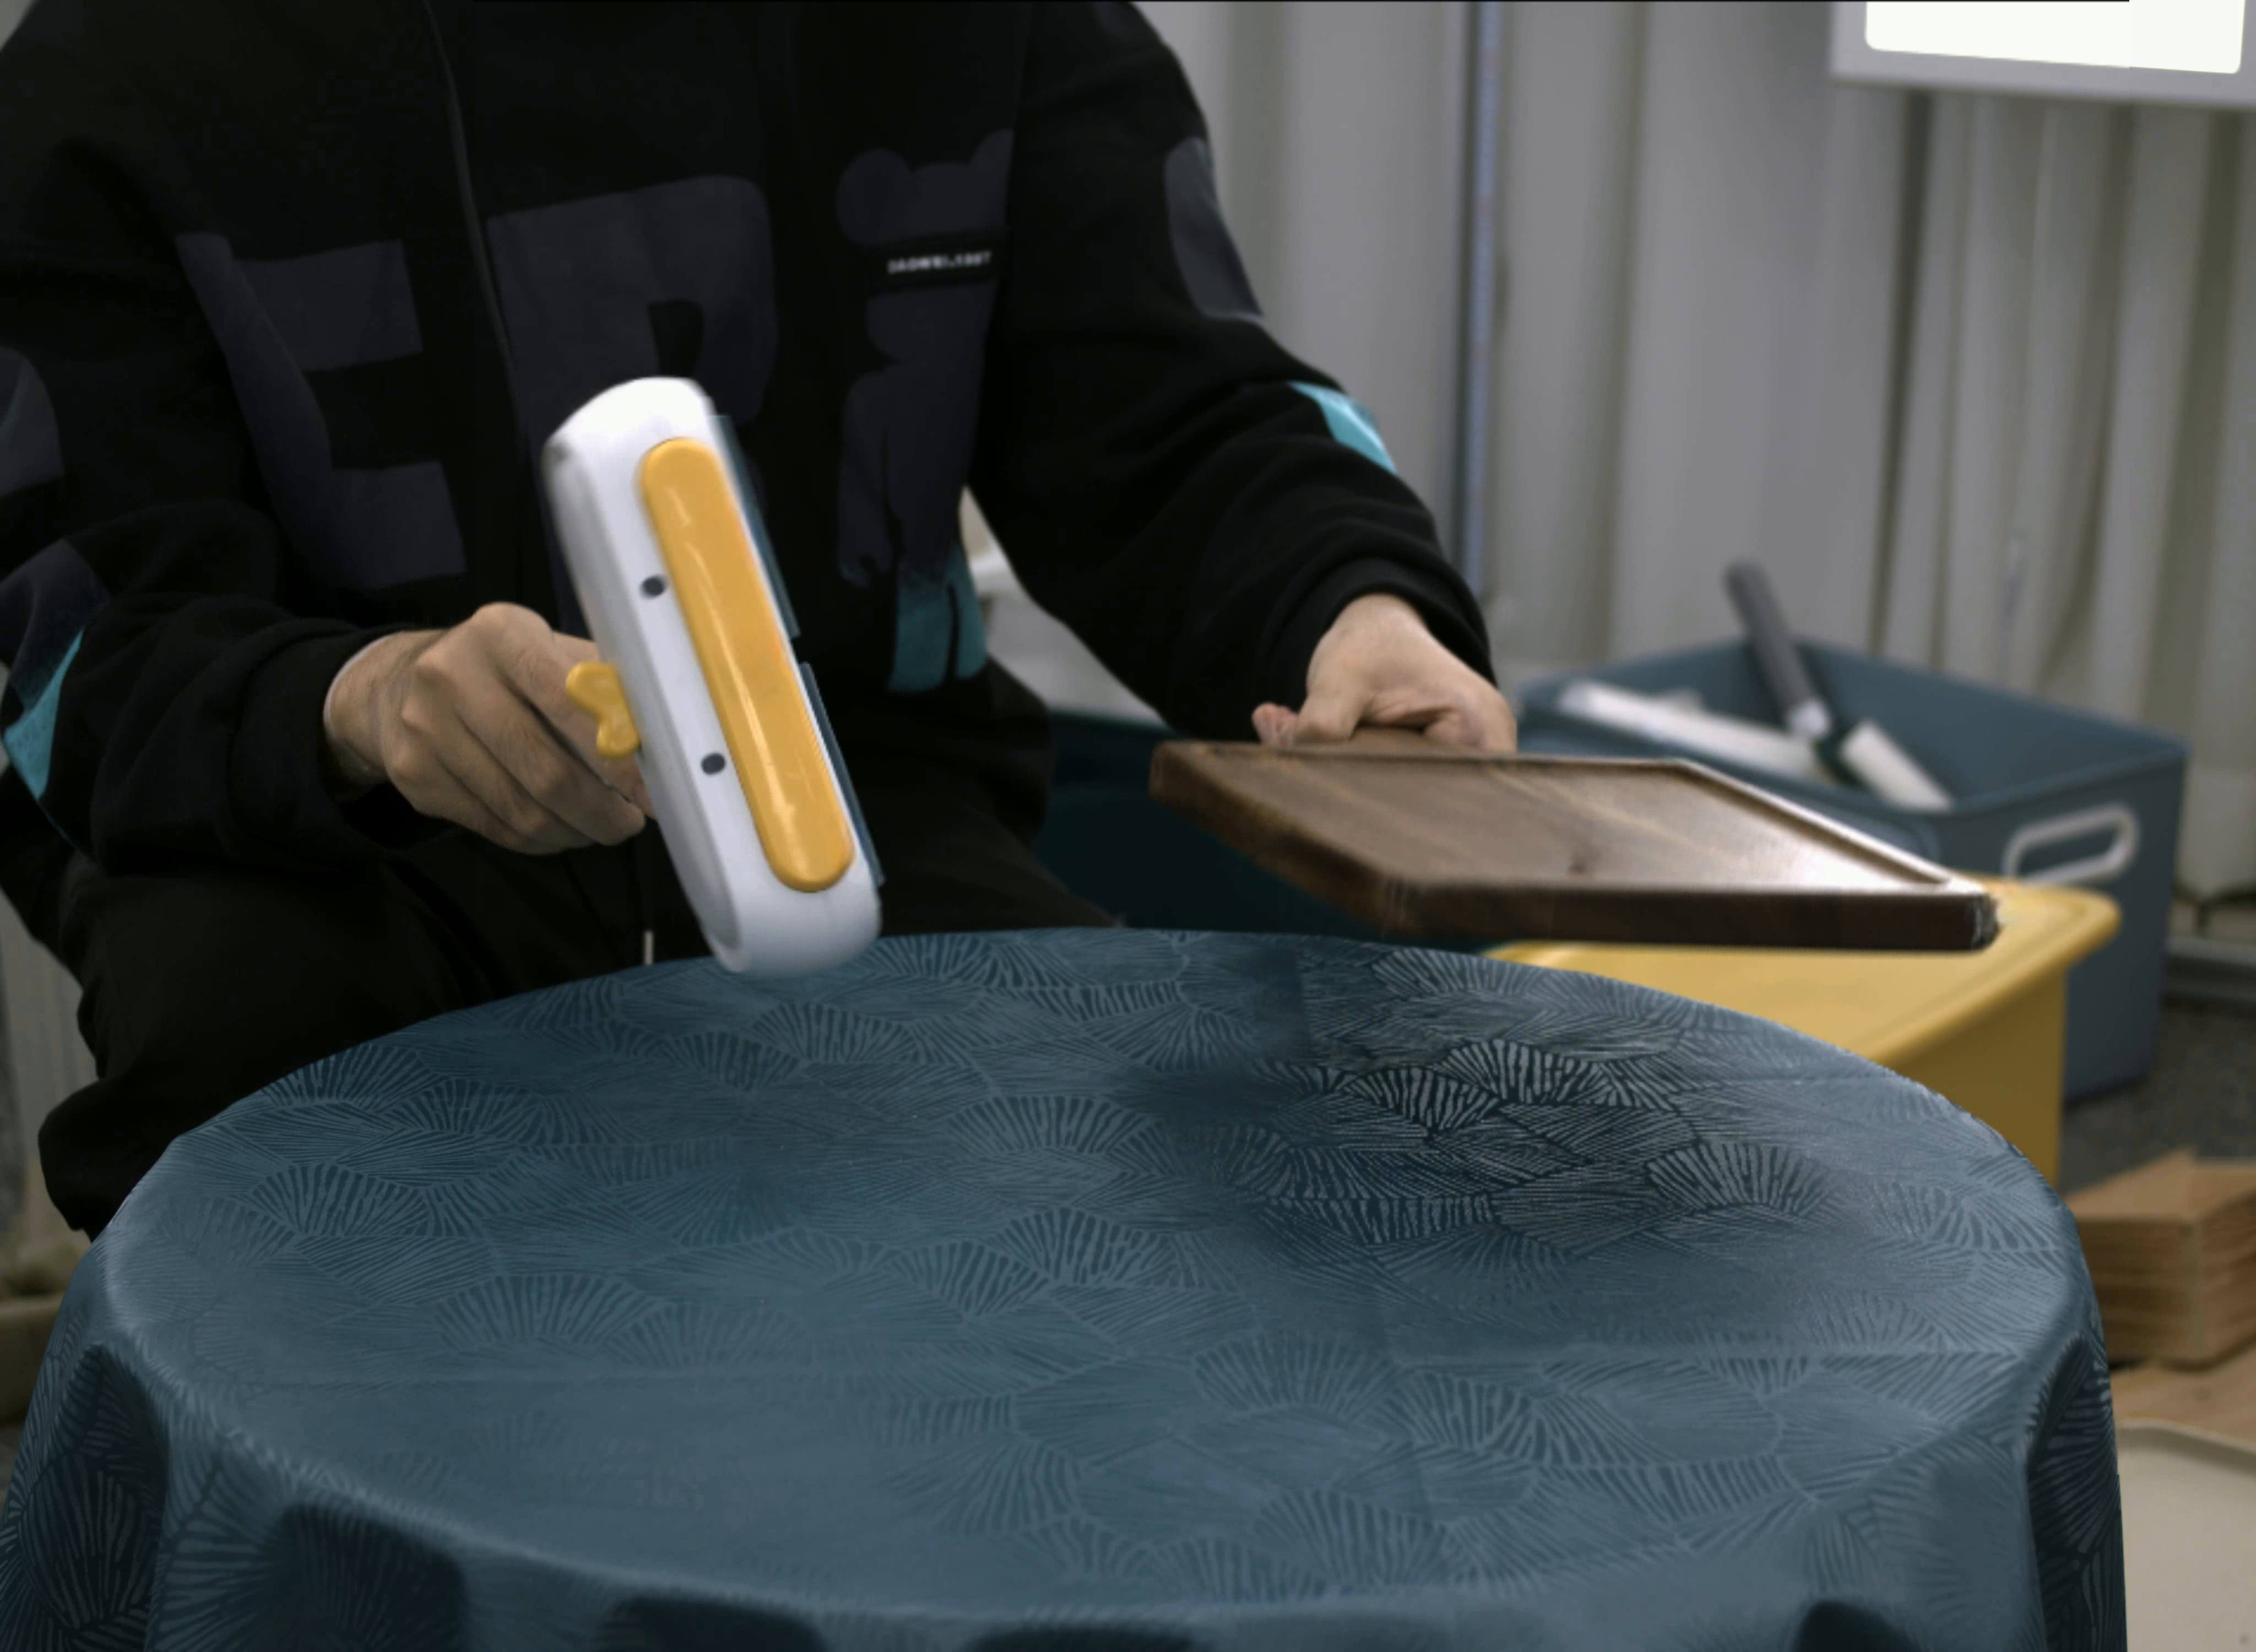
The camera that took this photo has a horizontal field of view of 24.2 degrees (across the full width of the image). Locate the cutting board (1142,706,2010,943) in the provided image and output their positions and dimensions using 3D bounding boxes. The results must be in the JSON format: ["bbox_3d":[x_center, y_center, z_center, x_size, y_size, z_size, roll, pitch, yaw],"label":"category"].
[{"bbox_3d":[0.120,-0.005,1.697,0.201,0.023,0.349,2,8,-18],"label":"cutting board"}]

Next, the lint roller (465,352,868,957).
[{"bbox_3d":[-0.159,-0.037,1.681,0.074,0.193,0.192,-21,-3,-26],"label":"lint roller"}]
